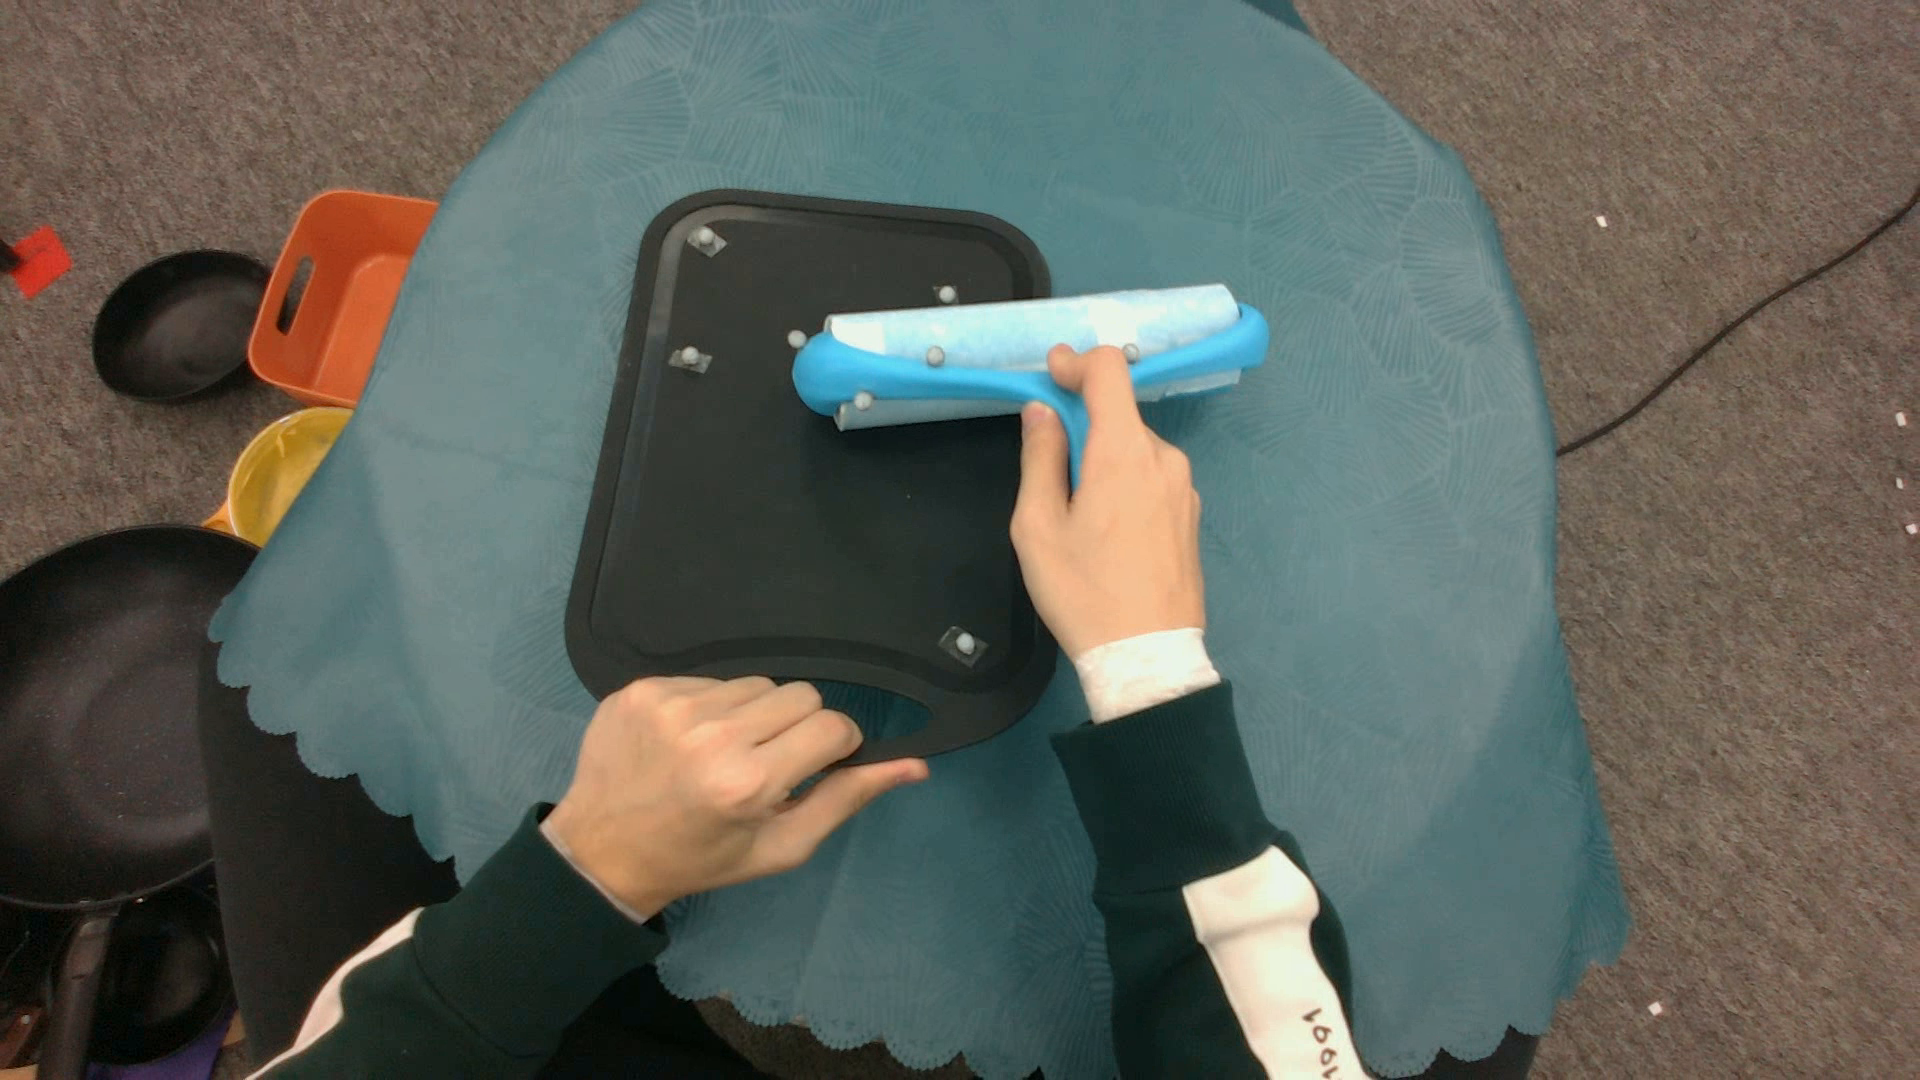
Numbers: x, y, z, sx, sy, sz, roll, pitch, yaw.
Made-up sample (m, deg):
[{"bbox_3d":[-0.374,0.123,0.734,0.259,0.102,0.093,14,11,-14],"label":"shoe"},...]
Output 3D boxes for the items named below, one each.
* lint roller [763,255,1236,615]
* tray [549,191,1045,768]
[{"bbox_3d":[0.039,-0.055,0.618,0.229,0.067,0.181,-10,51,-16],"label":"lint roller"},{"bbox_3d":[-0.068,-0.046,0.638,0.211,0.010,0.327,2,56,-5],"label":"tray"}]
